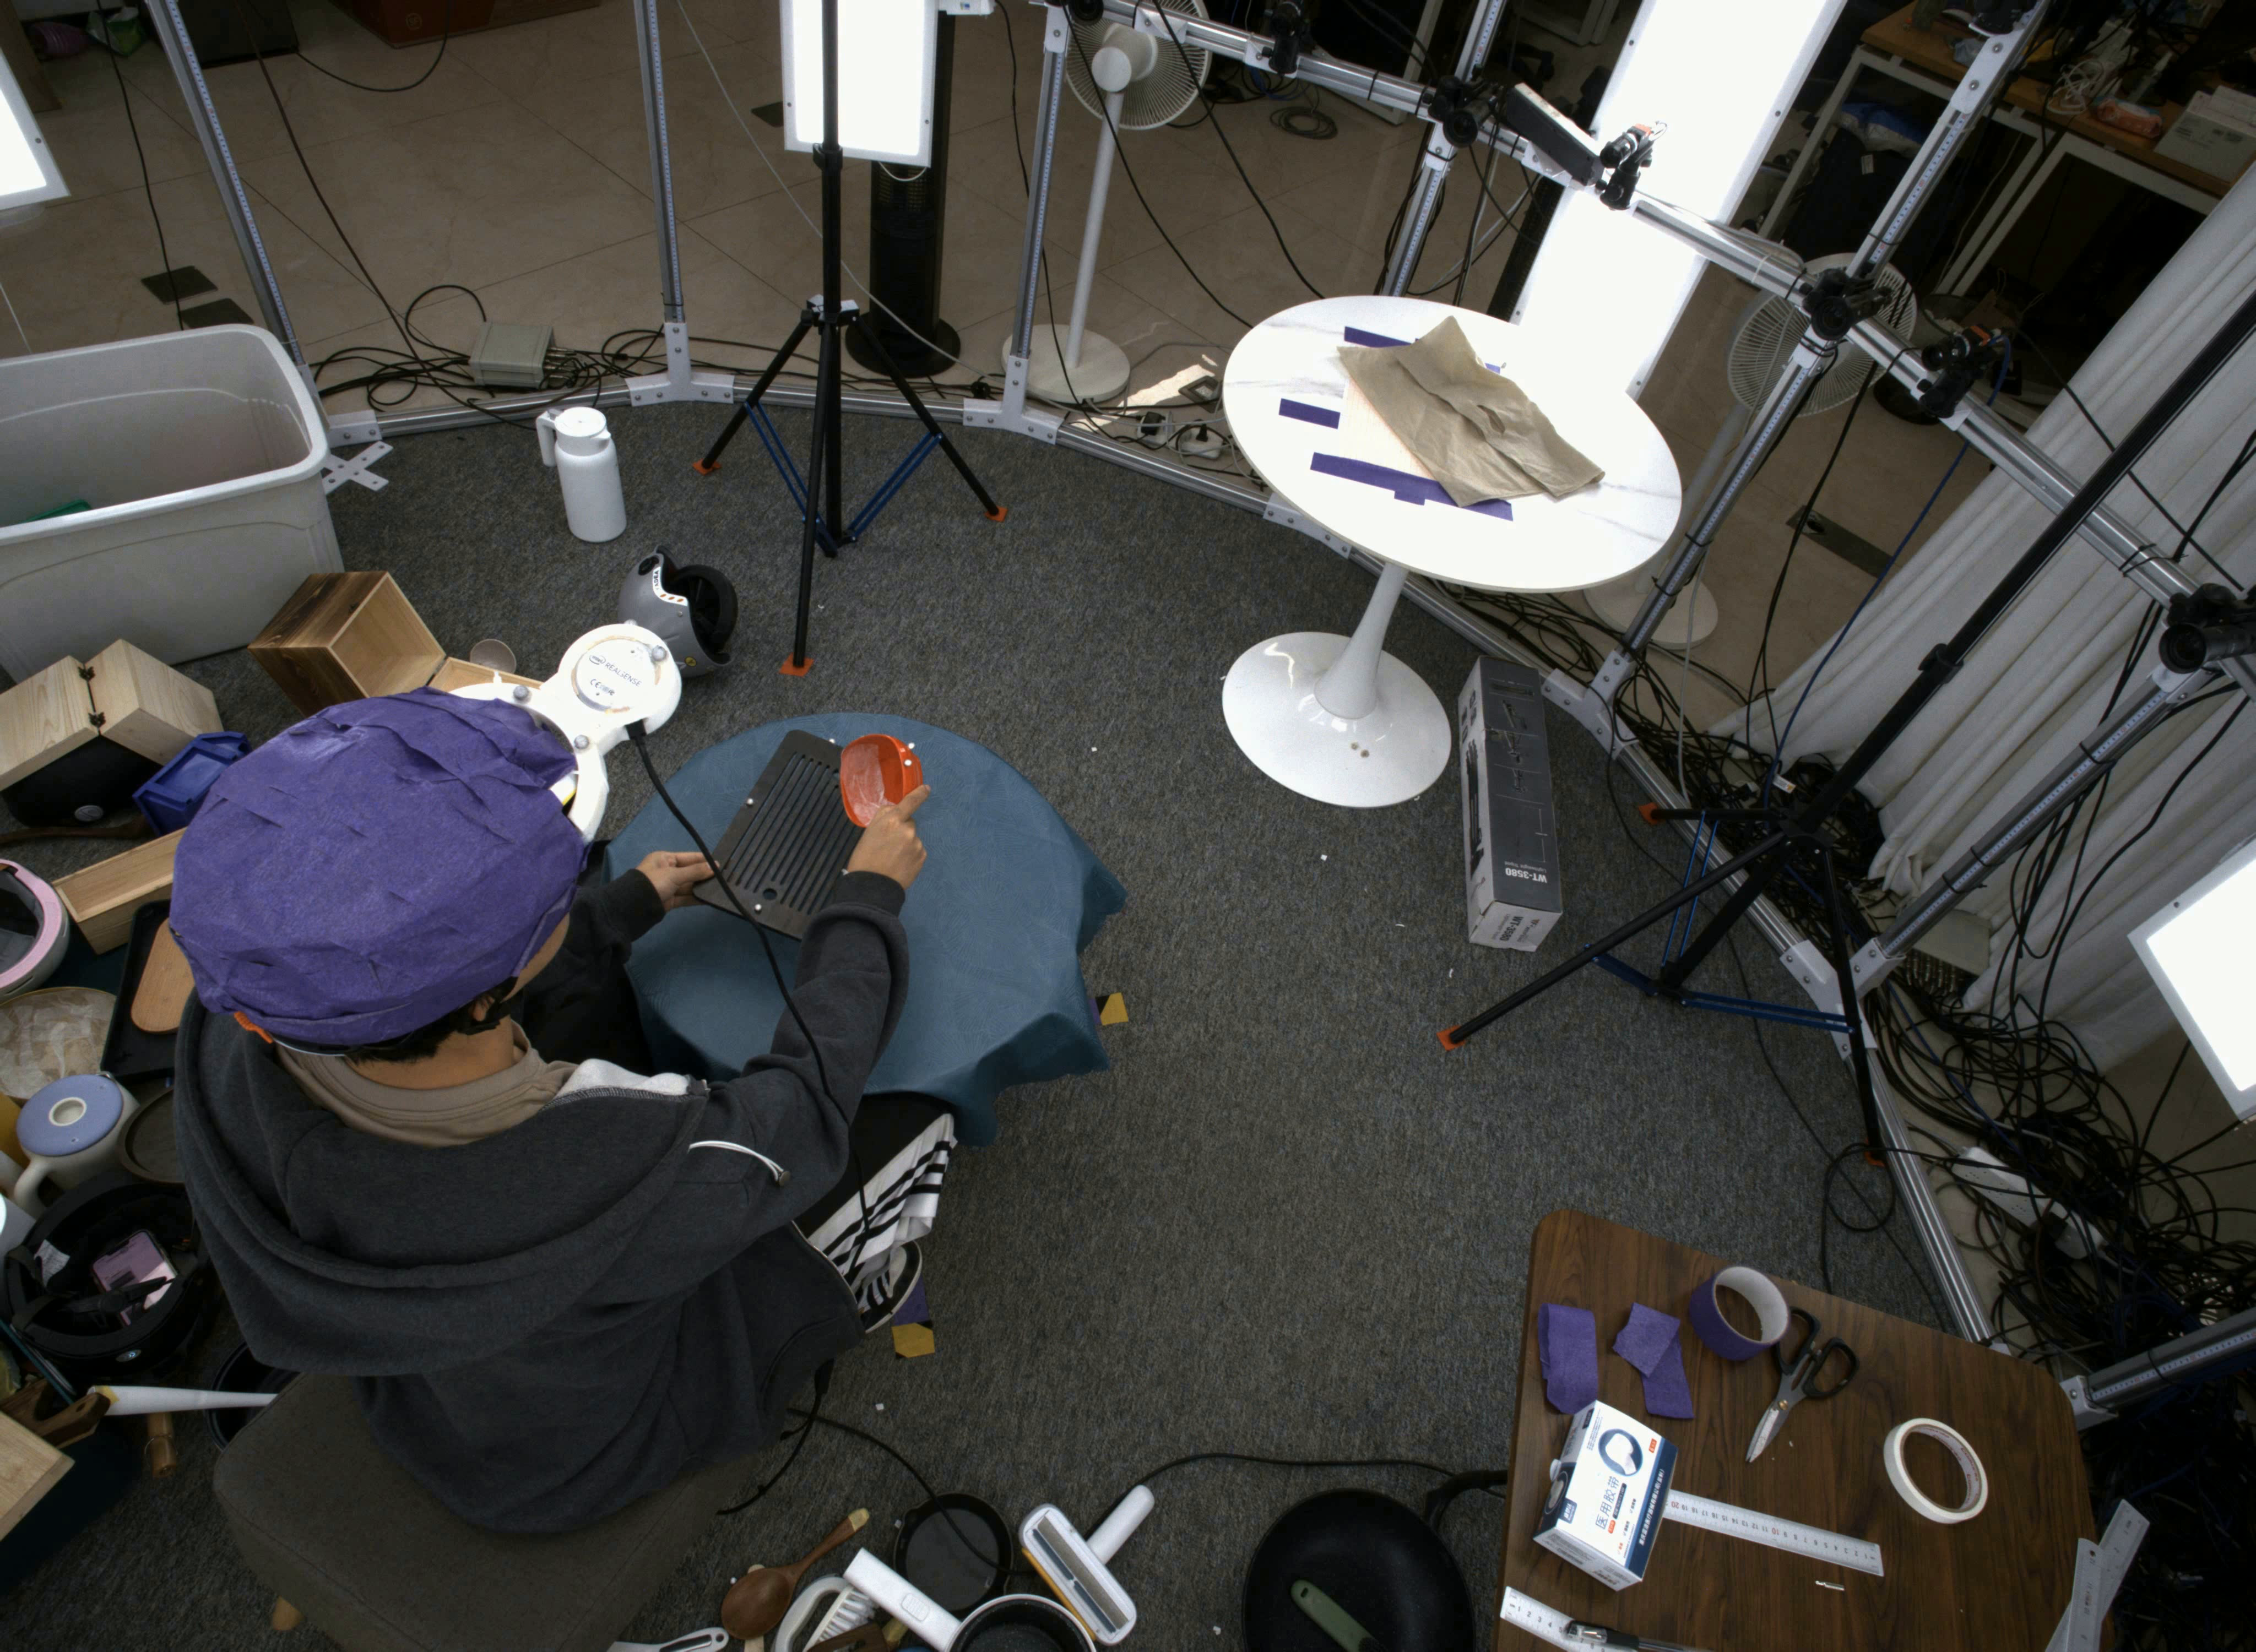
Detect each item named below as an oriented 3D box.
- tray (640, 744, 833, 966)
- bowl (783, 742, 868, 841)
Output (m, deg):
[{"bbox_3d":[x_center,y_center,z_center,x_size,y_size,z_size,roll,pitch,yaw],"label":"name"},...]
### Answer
[{"bbox_3d":[-0.467,0.030,1.603,0.170,0.019,0.301,21,48,-8],"label":"tray"},{"bbox_3d":[-0.343,-0.041,1.501,0.116,0.120,0.052,46,25,22],"label":"bowl"}]
